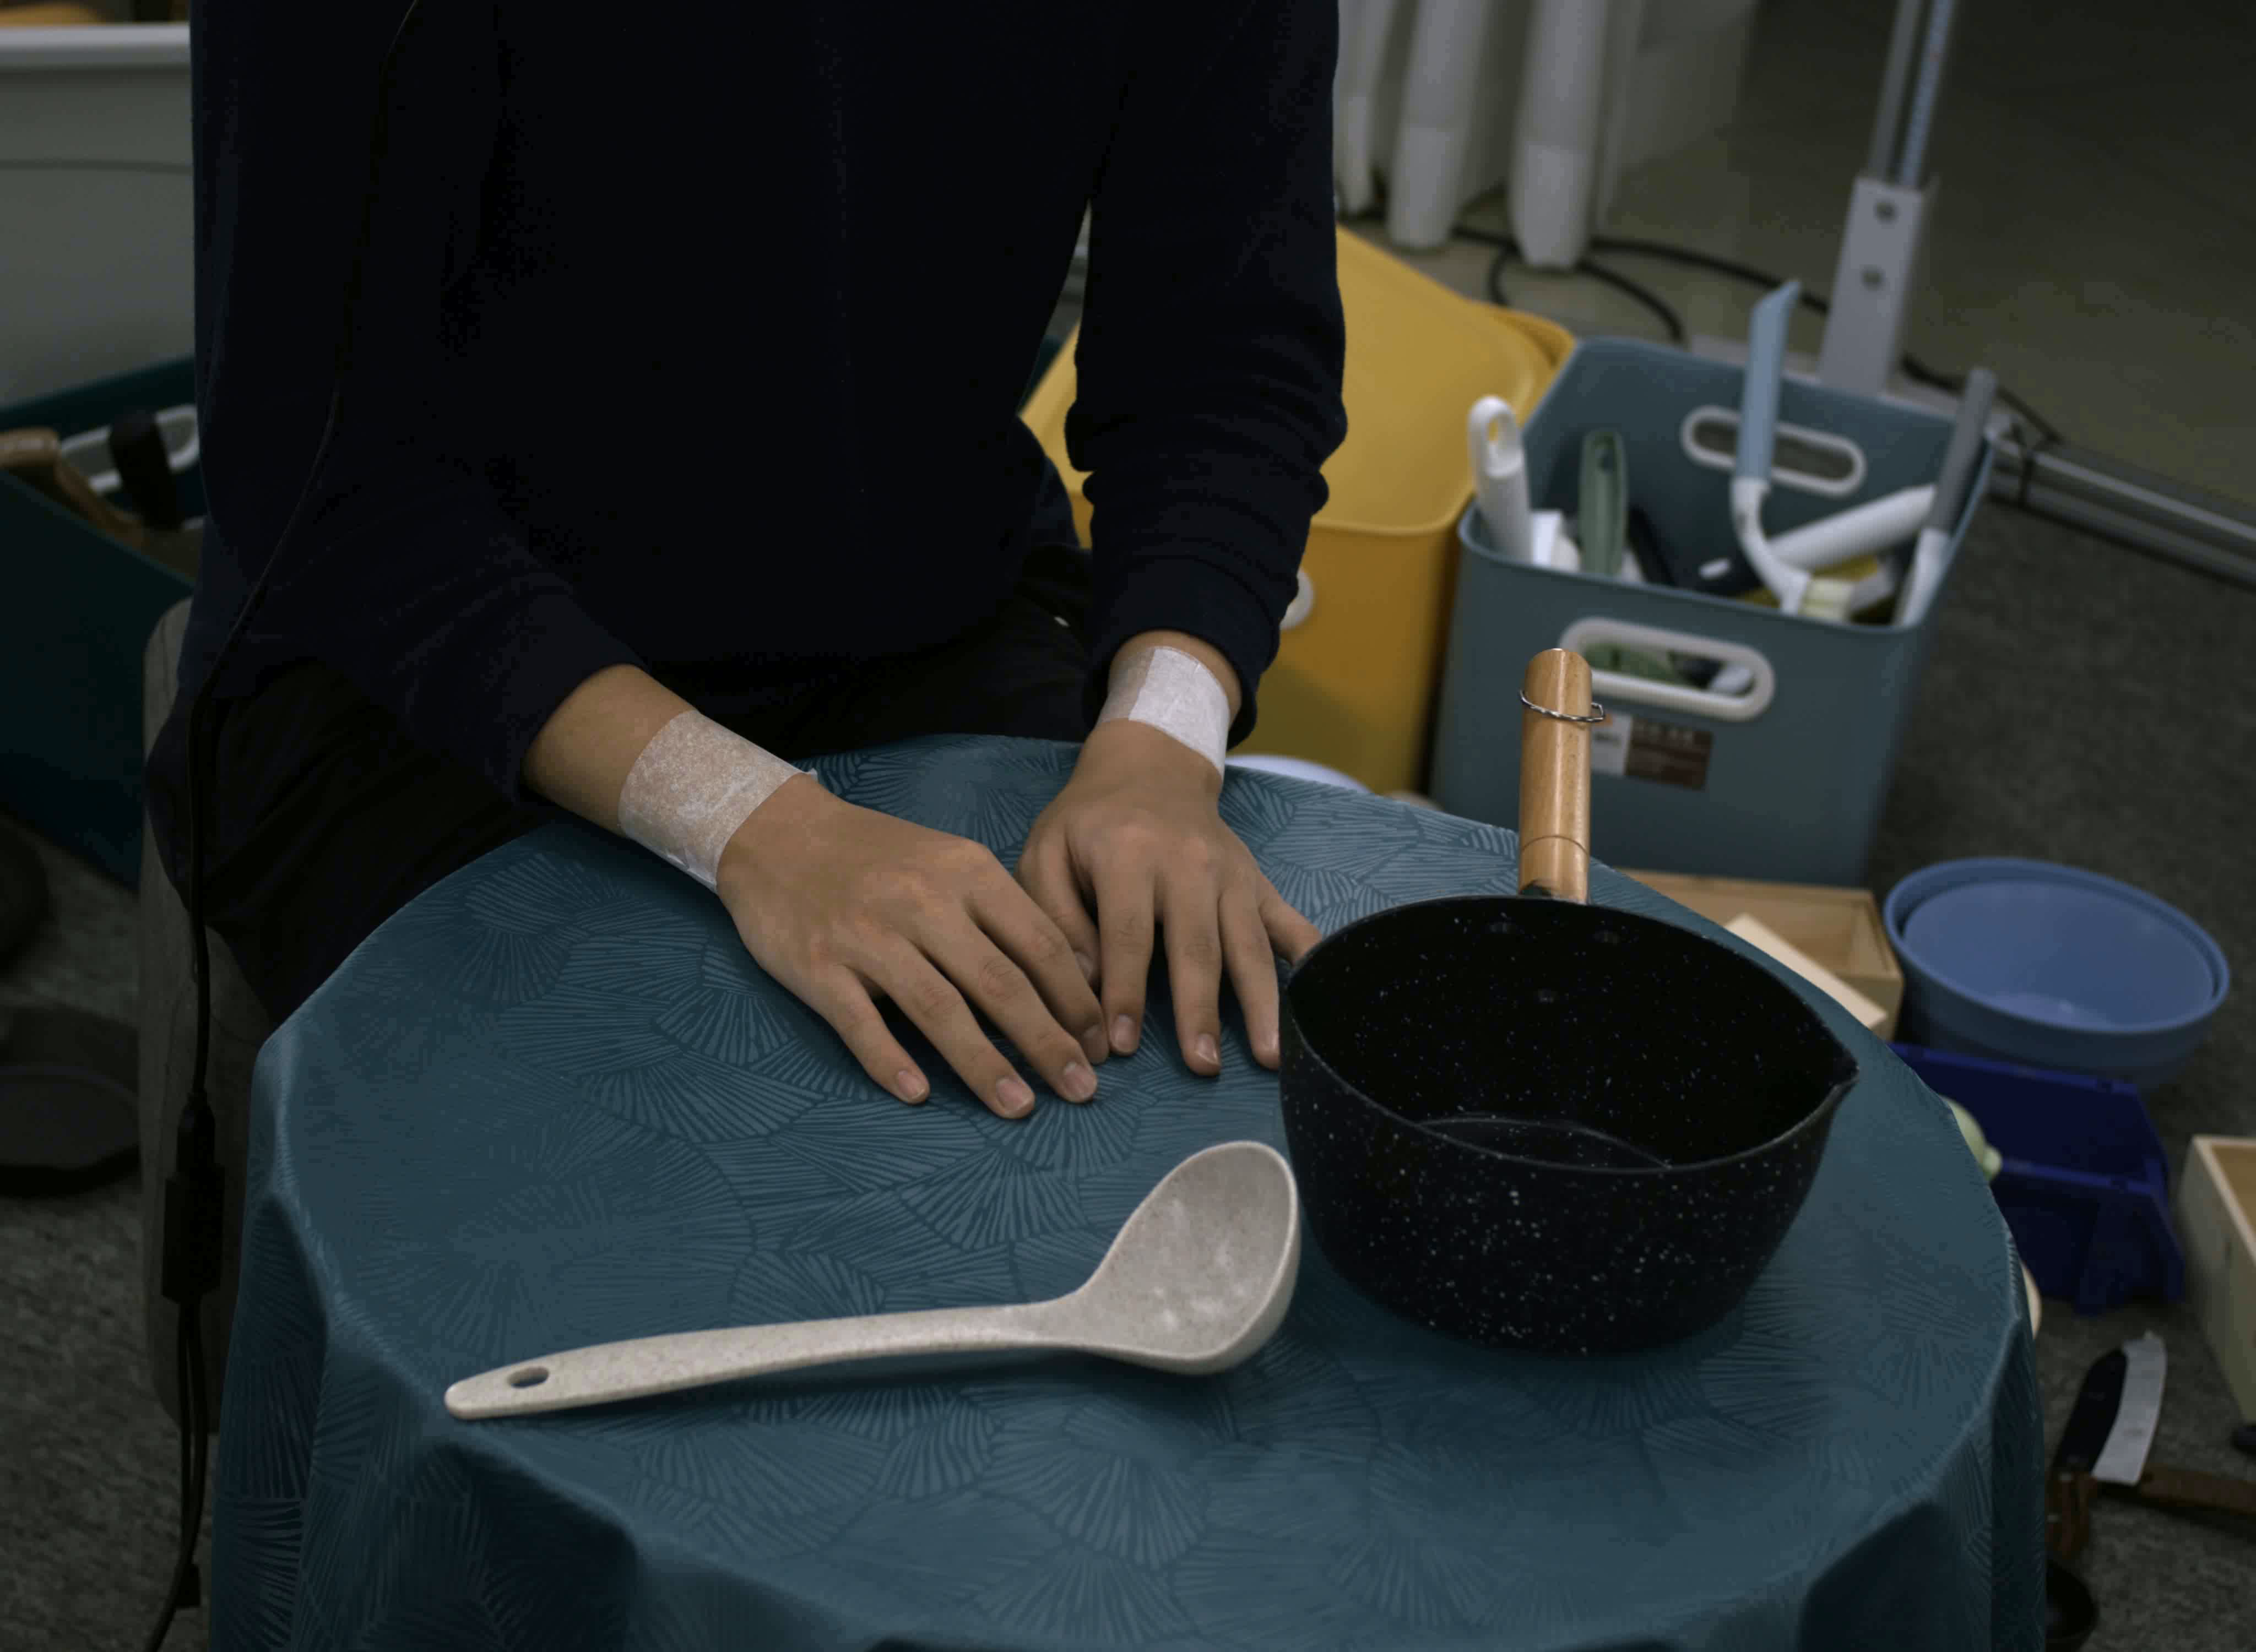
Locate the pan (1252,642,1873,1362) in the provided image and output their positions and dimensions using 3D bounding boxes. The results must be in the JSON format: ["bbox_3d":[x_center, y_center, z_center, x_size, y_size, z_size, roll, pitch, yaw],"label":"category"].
[{"bbox_3d":[0.145,0.057,1.847,0.207,0.108,0.345,5,28,0],"label":"pan"}]

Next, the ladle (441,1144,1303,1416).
[{"bbox_3d":[-0.078,0.144,1.669,0.273,0.069,0.090,-2,33,-18],"label":"ladle"}]
